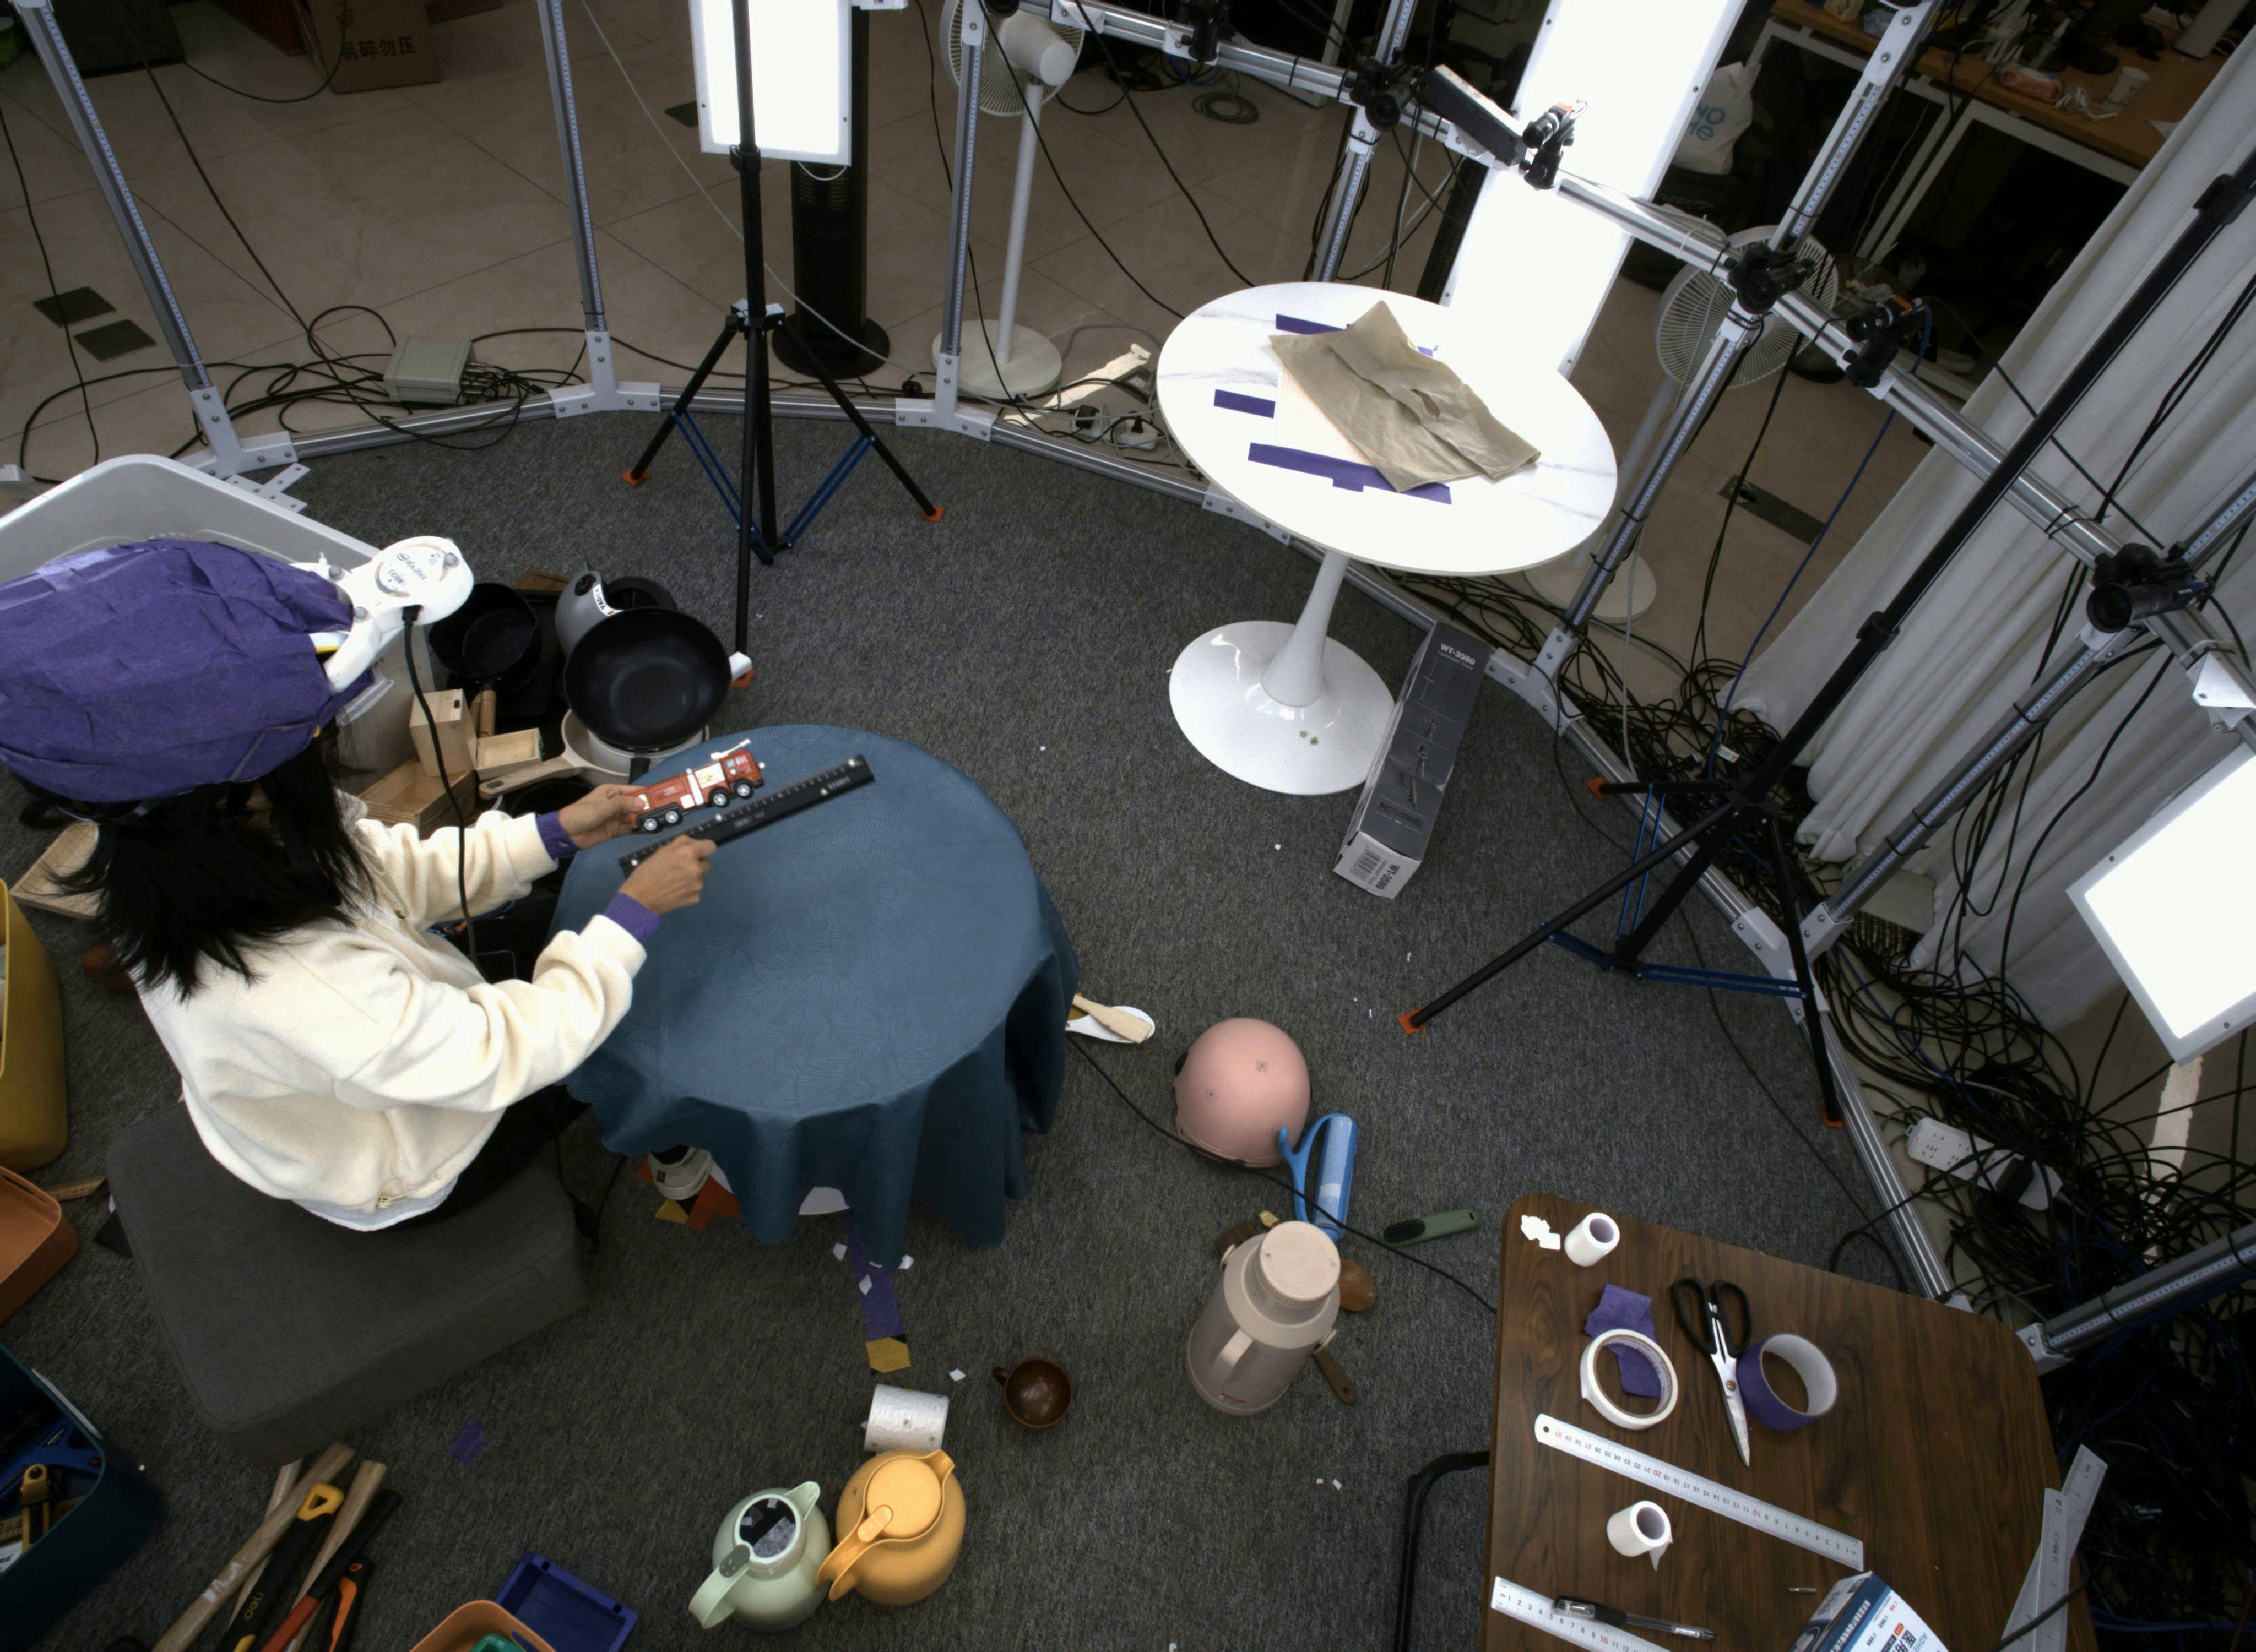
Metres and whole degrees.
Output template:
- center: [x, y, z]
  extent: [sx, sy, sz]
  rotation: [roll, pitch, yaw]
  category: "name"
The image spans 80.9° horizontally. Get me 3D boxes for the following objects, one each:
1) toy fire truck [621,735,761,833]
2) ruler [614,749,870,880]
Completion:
- center: [-0.521, -0.045, 1.532]
  extent: [0.167, 0.053, 0.071]
  rotation: [-24, 95, -13]
  category: "toy fire truck"
- center: [-0.453, -0.019, 1.519]
  extent: [0.312, 0.017, 0.039]
  rotation: [-24, 86, -18]
  category: "ruler"
